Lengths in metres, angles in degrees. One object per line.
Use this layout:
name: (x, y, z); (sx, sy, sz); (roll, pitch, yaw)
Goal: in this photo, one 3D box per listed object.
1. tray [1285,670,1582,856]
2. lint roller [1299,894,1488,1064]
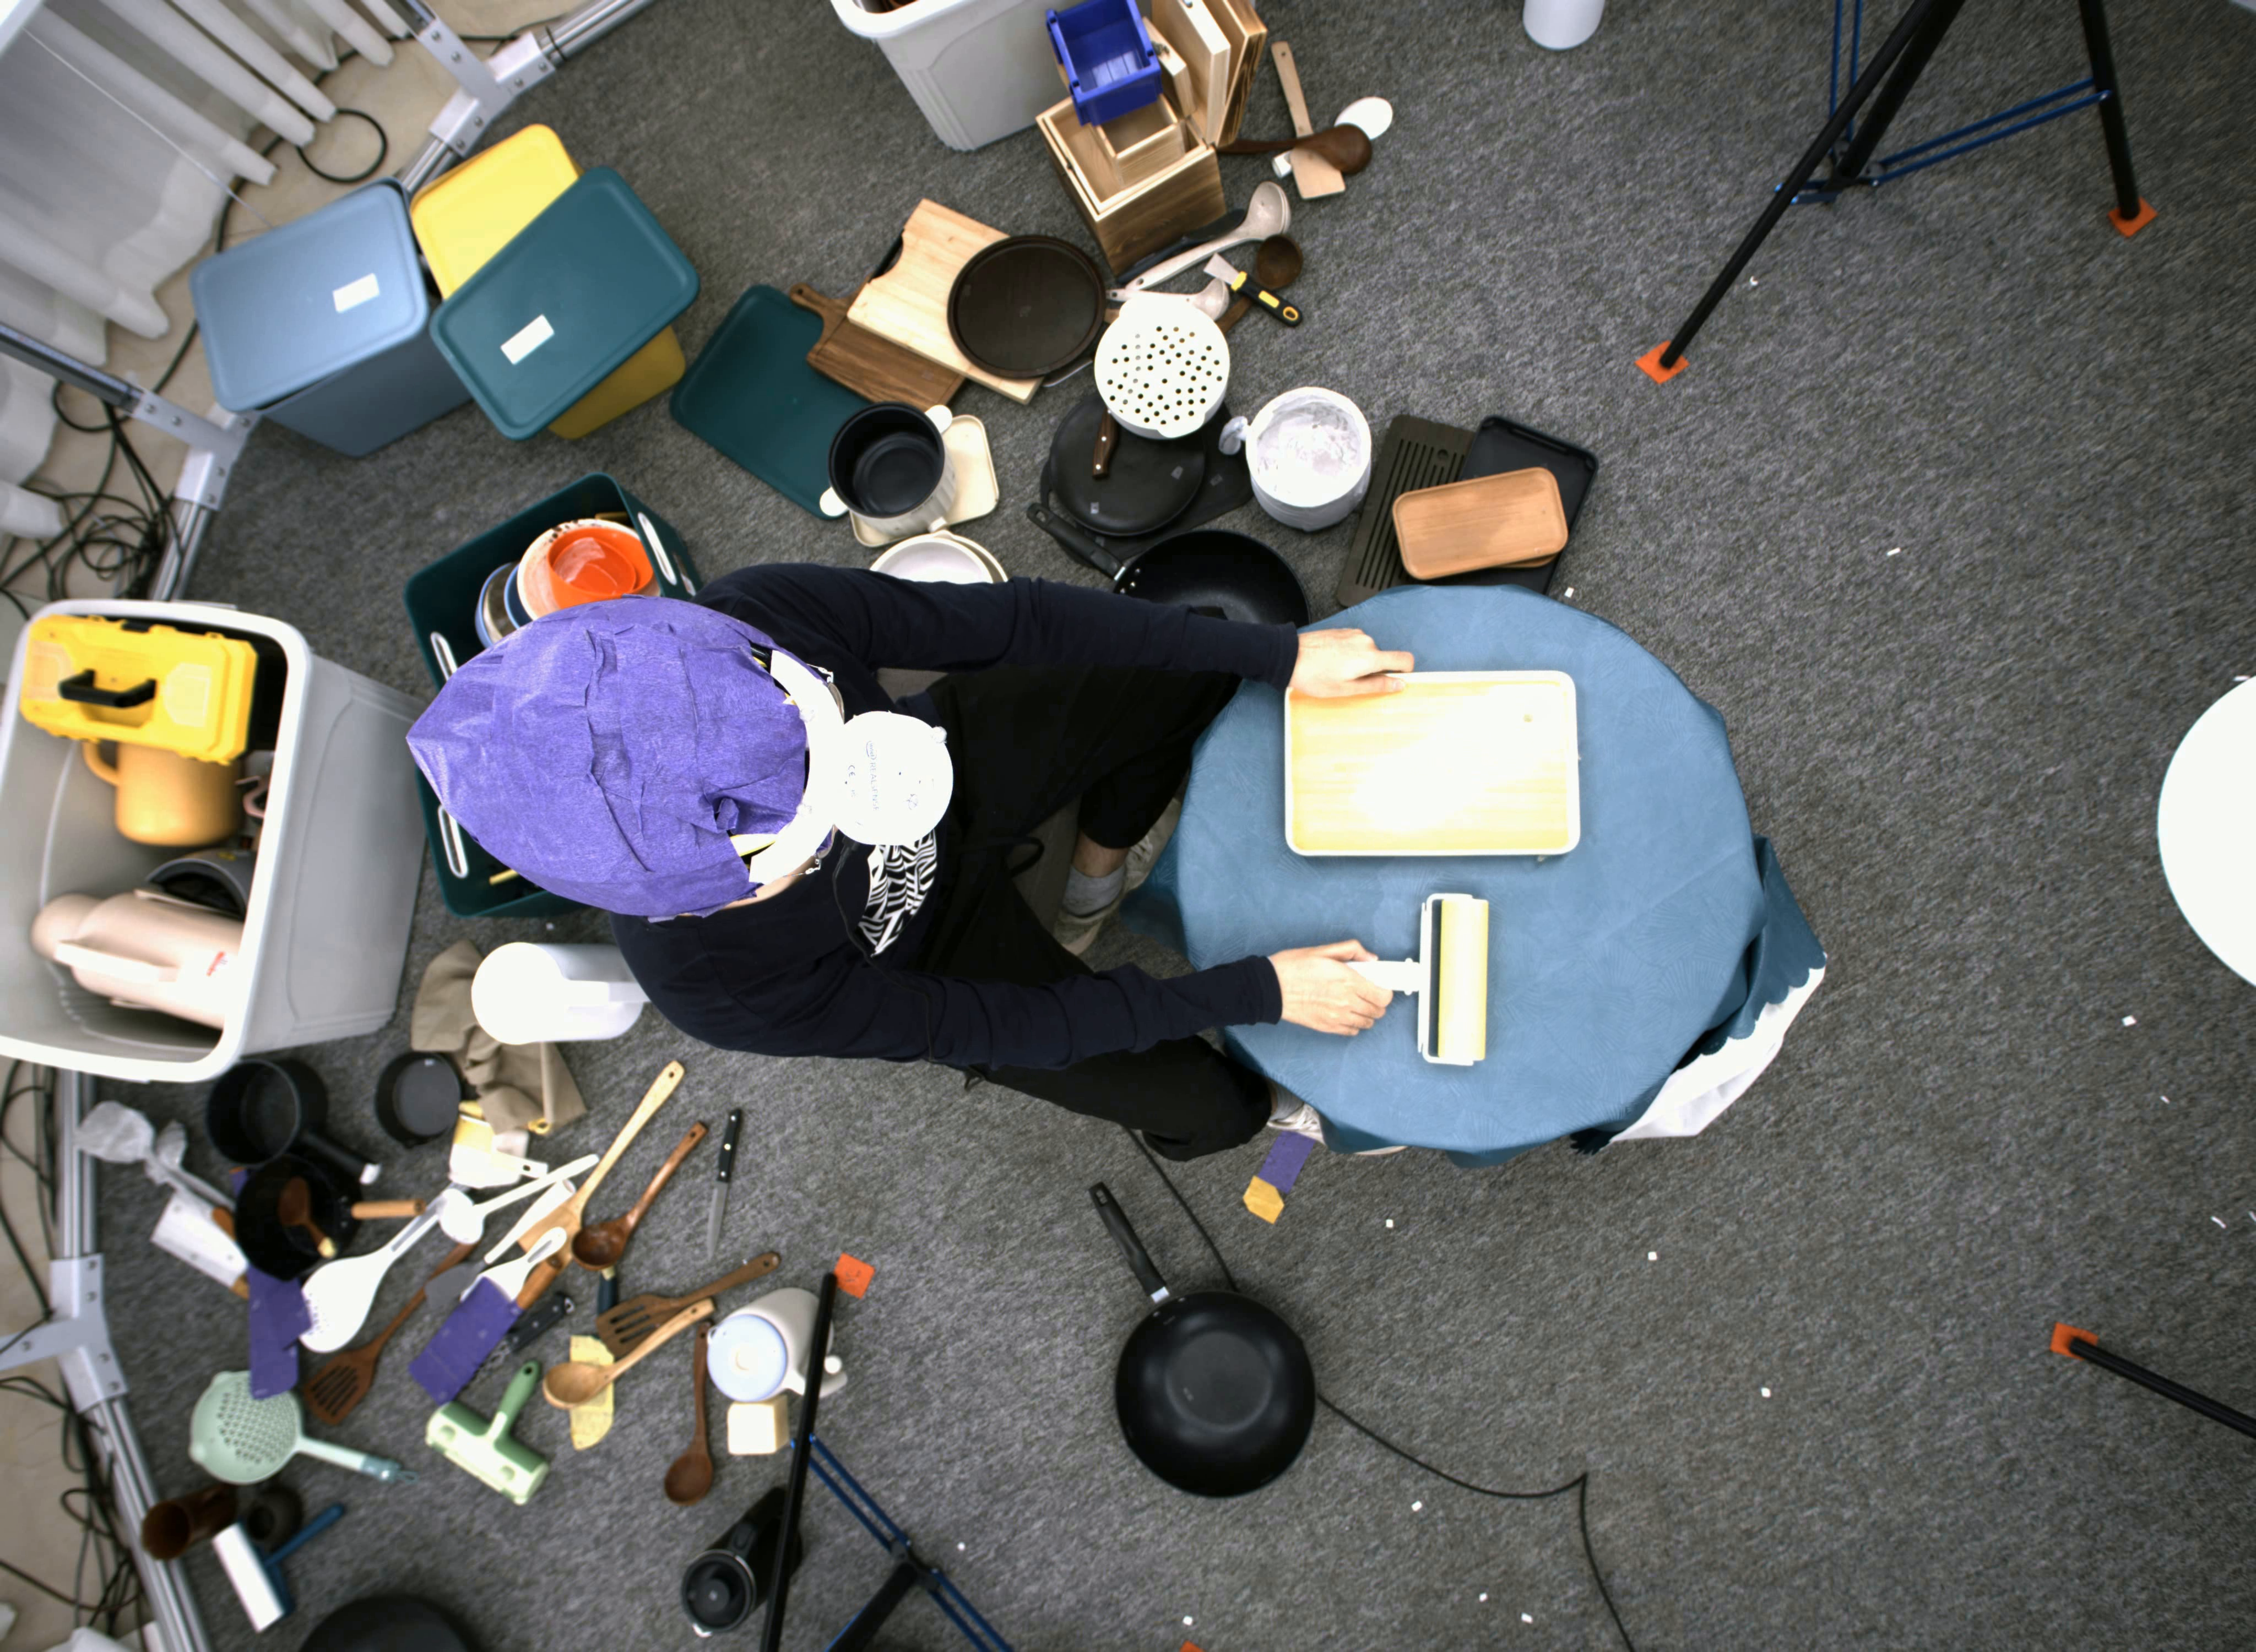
tray: (0.315, -0.066, 1.435); (0.301, 0.027, 0.190); (-1, 85, 8)
lint roller: (0.274, 0.154, 1.420); (0.192, 0.051, 0.173); (1, 87, 1)
